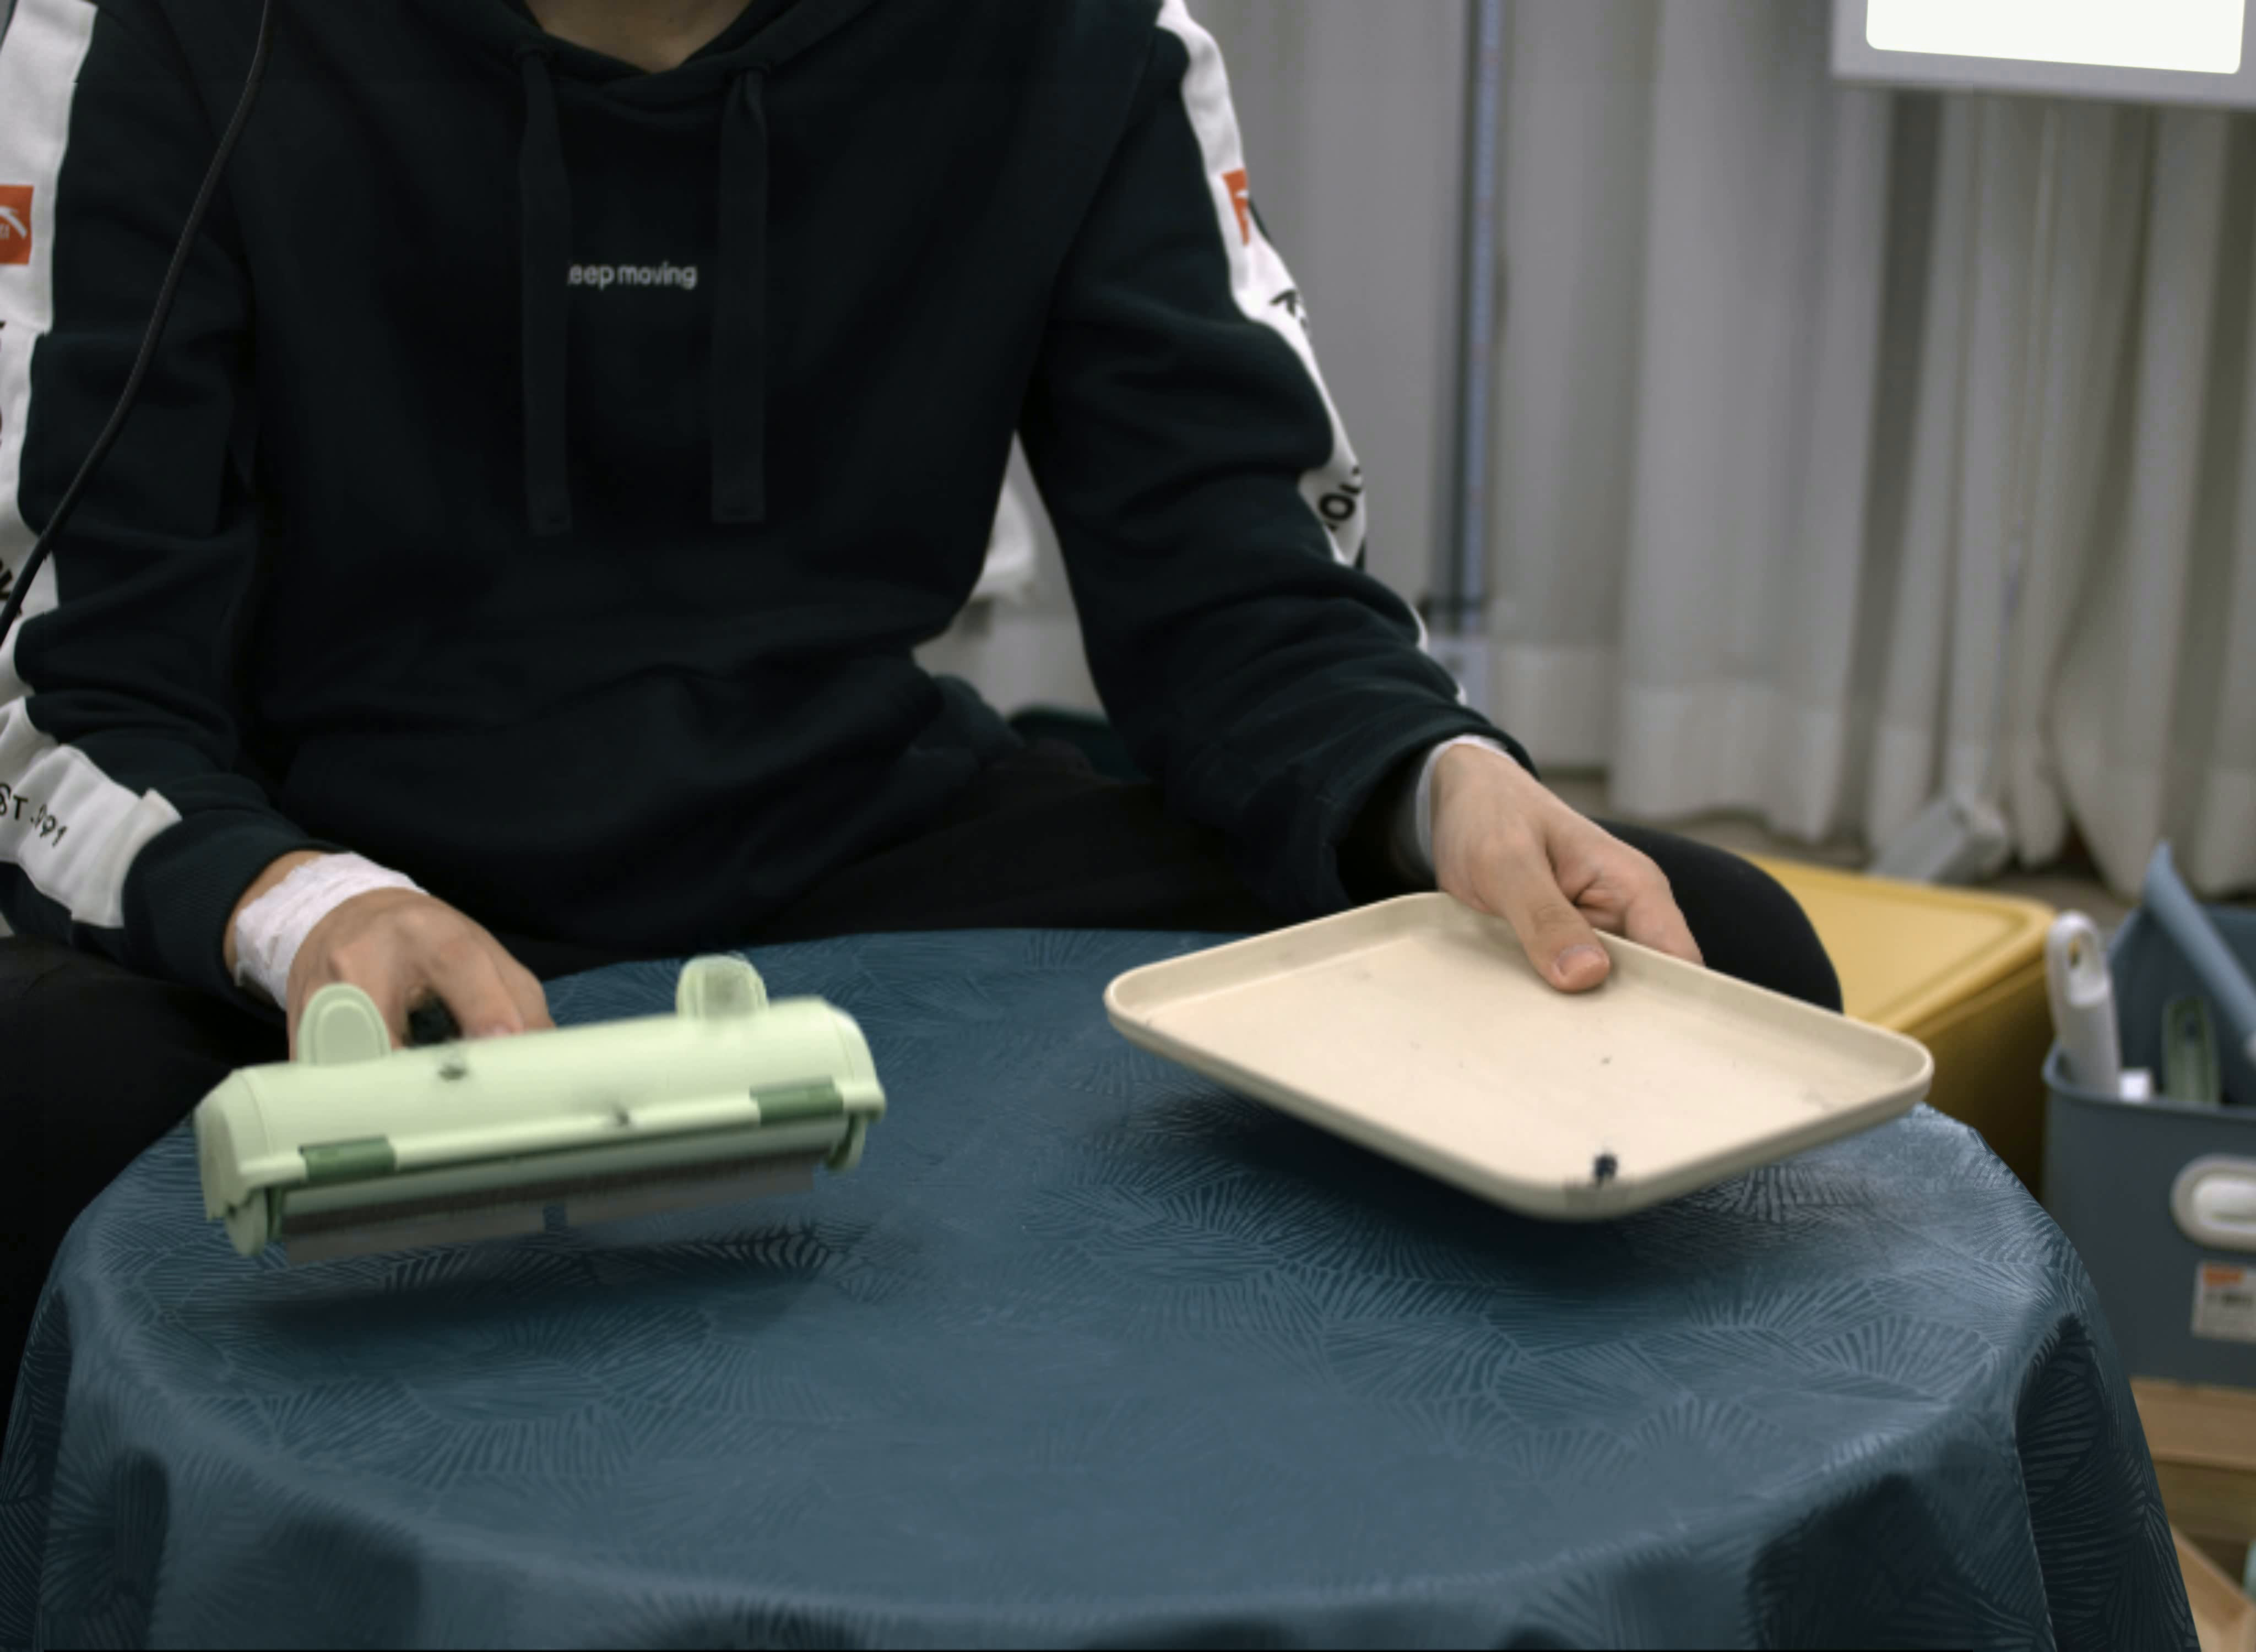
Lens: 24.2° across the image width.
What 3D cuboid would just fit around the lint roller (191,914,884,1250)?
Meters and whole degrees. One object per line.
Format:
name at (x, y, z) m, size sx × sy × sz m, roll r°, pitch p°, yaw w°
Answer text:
lint roller at (-0.193, 0.059, 1.573) m, size 0.199 × 0.083 × 0.181 m, roll -8°, pitch 21°, yaw -23°

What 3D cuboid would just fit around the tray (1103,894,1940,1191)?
tray at (0.120, 0.066, 1.638) m, size 0.172 × 0.017 × 0.236 m, roll -12°, pitch 20°, yaw -38°
